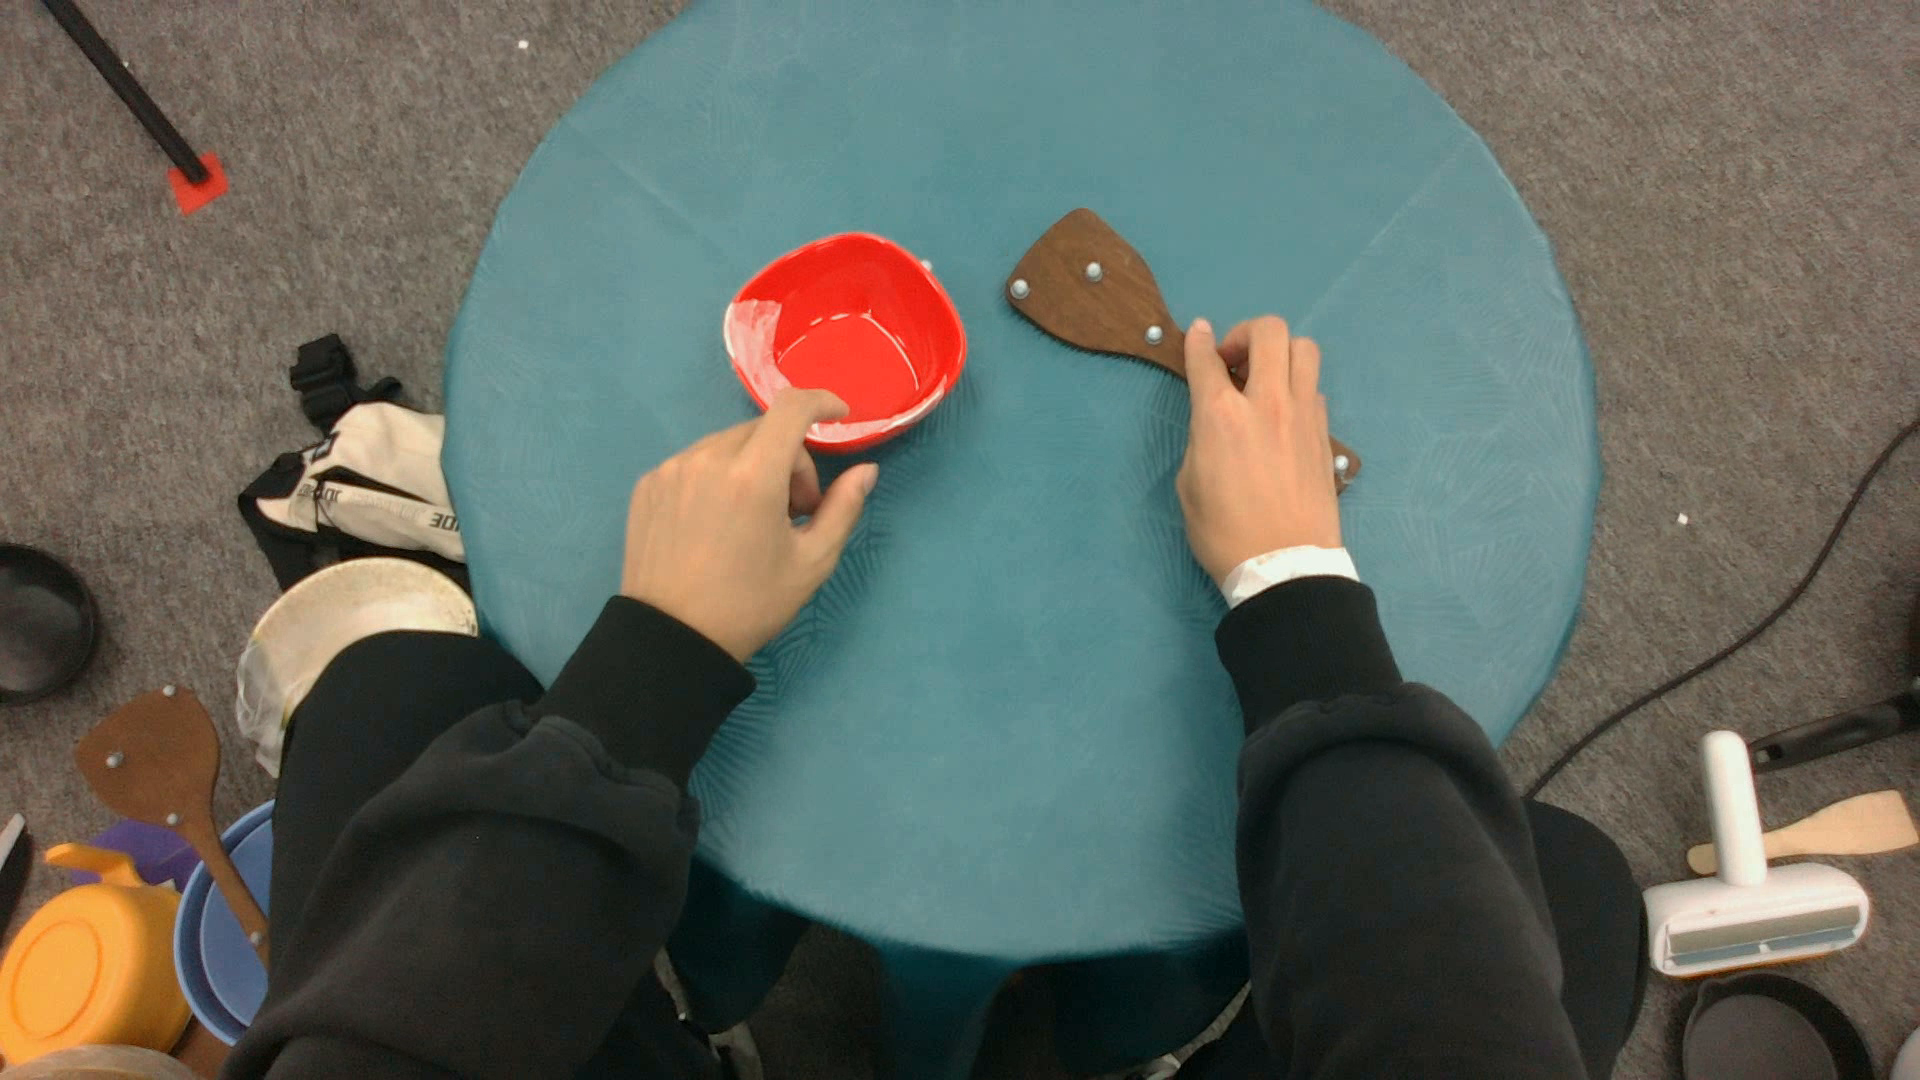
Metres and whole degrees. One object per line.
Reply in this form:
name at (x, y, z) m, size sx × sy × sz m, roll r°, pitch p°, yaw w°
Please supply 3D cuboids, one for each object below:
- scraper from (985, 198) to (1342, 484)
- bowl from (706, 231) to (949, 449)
scraper at (0.110, -0.100, 0.726) m, size 0.211 × 0.011 × 0.076 m, roll 39°, pitch 72°, yaw 11°
bowl at (-0.066, -0.092, 0.692) m, size 0.119 × 0.051 × 0.119 m, roll 2°, pitch 66°, yaw -5°
